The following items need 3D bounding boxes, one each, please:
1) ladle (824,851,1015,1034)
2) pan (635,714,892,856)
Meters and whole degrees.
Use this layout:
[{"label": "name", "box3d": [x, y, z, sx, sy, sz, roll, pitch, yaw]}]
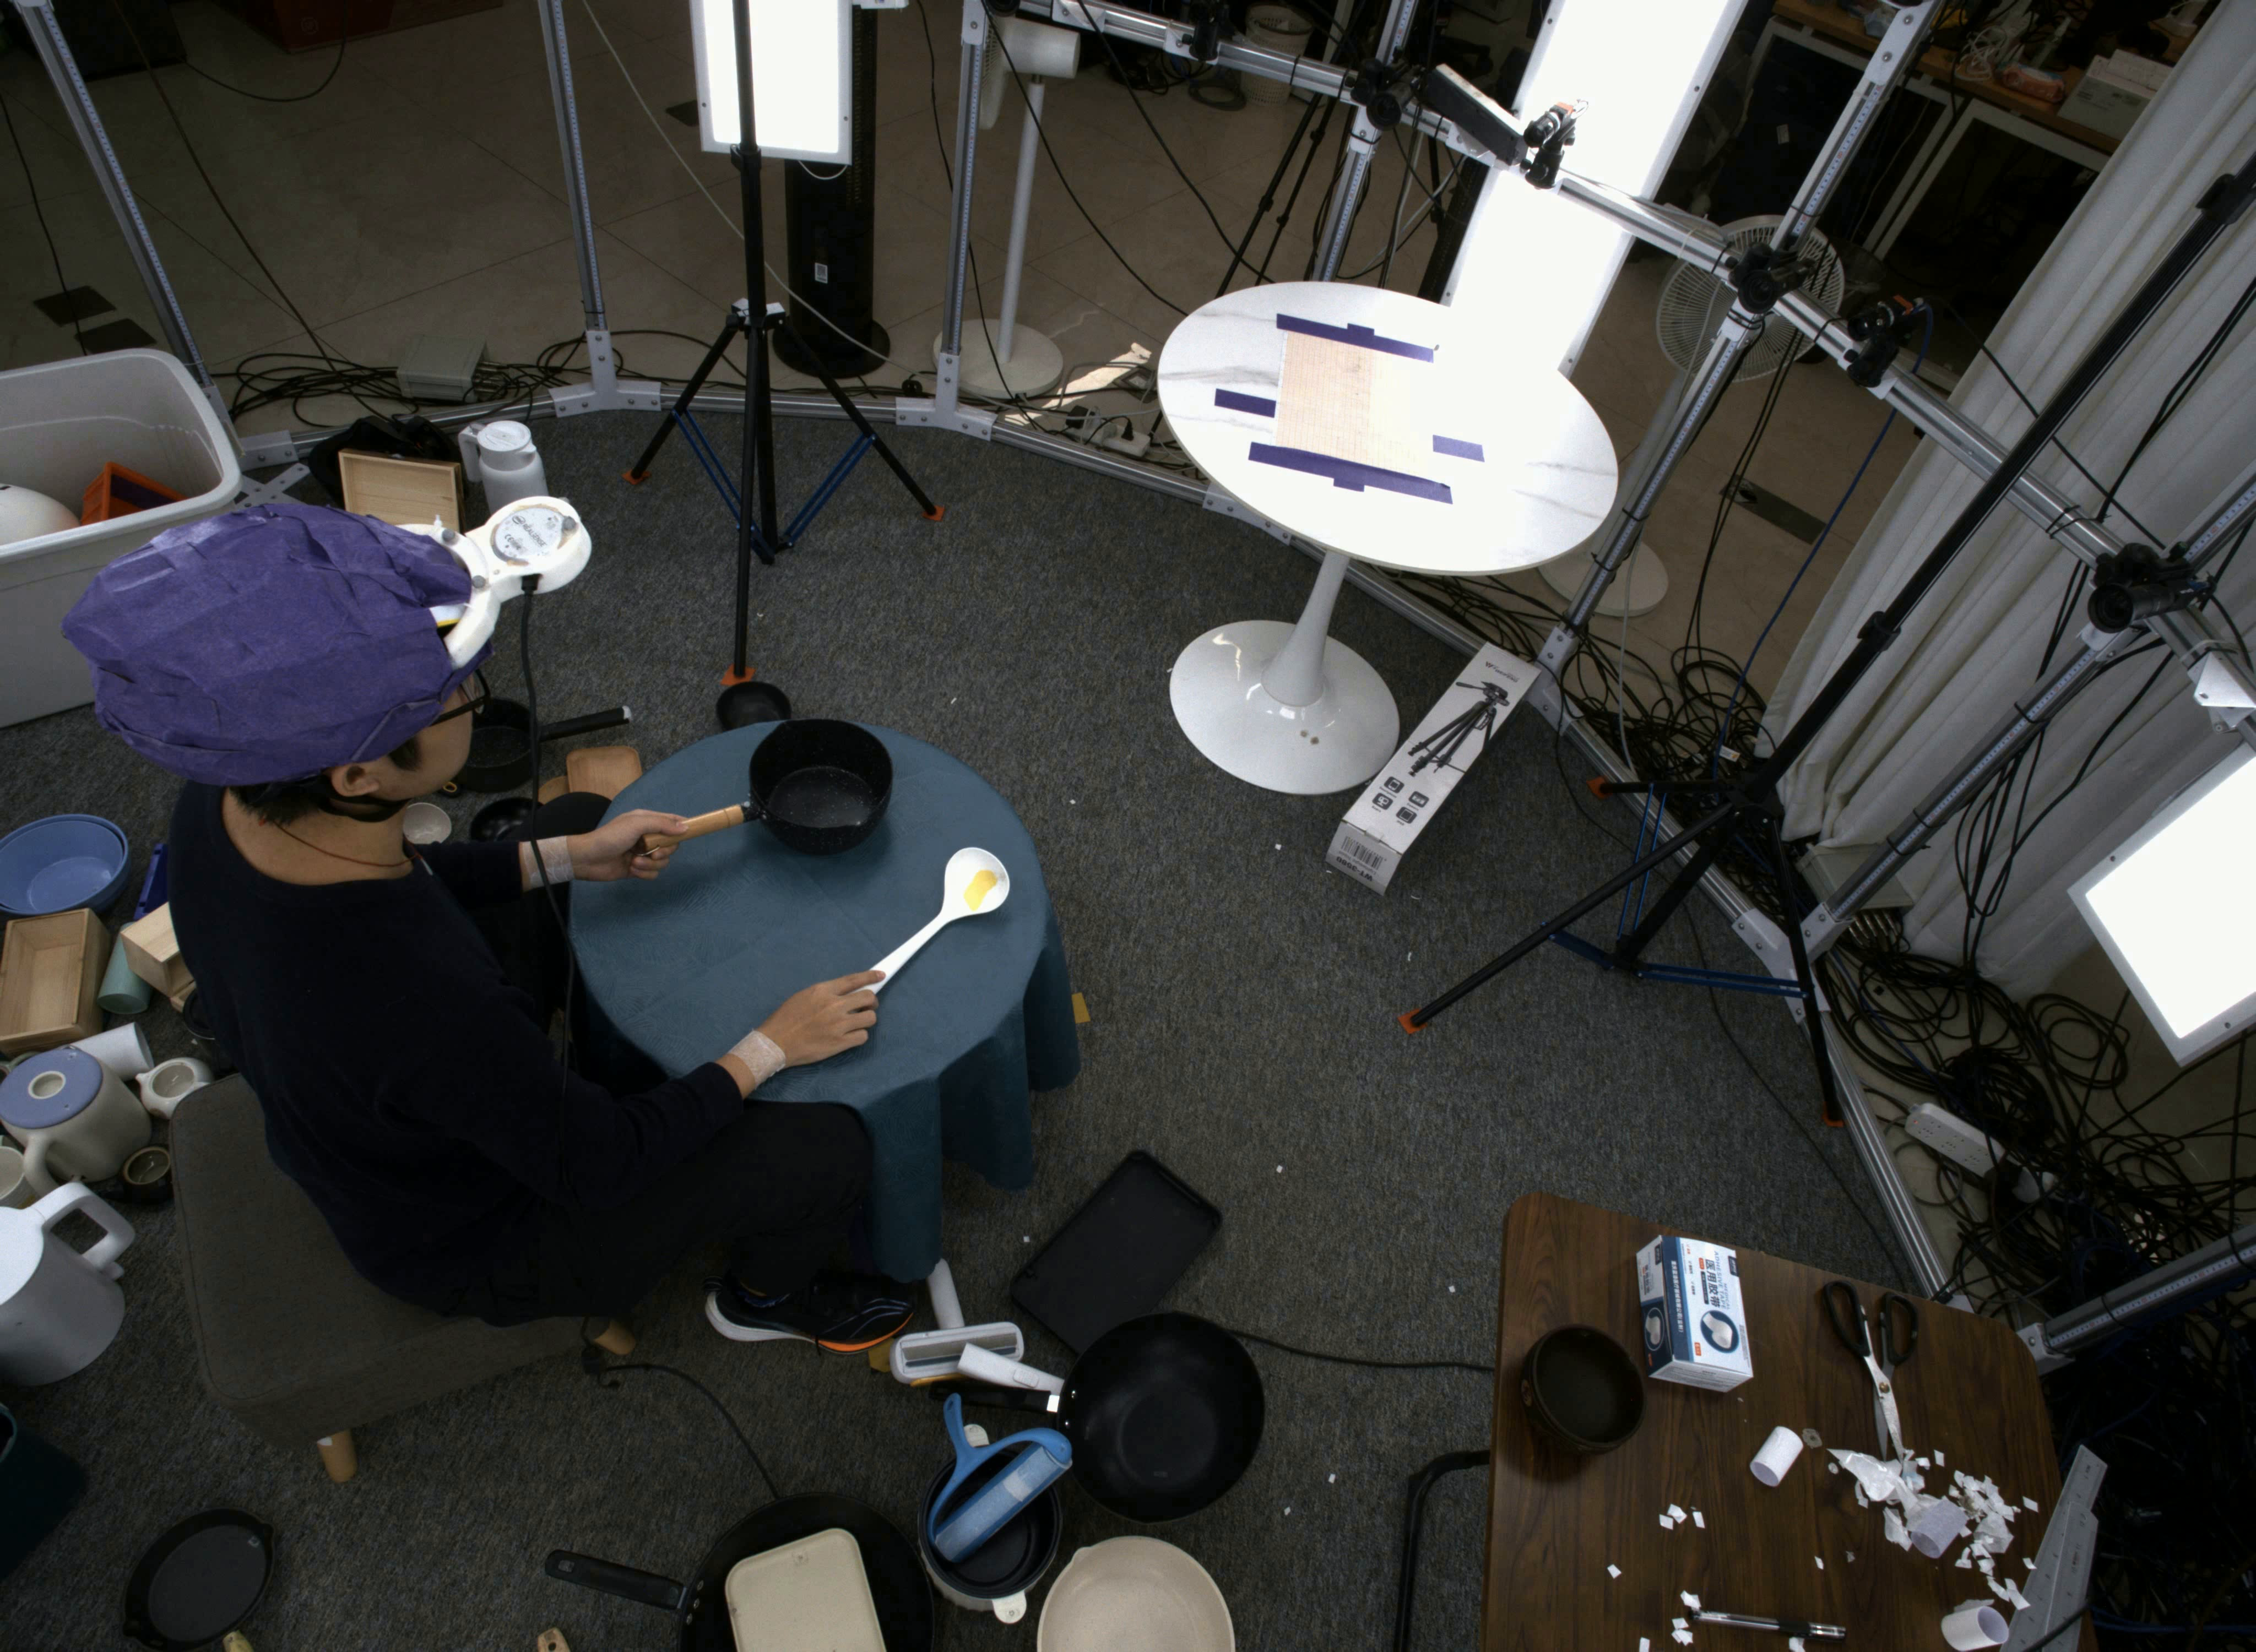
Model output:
[{"label": "ladle", "box3d": [-0.258, 0.143, 1.611, 0.090, 0.070, 0.293, 45, 55, 2]}, {"label": "pan", "box3d": [-0.462, -0.022, 1.650, 0.344, 0.110, 0.203, -29, 66, -32]}]
